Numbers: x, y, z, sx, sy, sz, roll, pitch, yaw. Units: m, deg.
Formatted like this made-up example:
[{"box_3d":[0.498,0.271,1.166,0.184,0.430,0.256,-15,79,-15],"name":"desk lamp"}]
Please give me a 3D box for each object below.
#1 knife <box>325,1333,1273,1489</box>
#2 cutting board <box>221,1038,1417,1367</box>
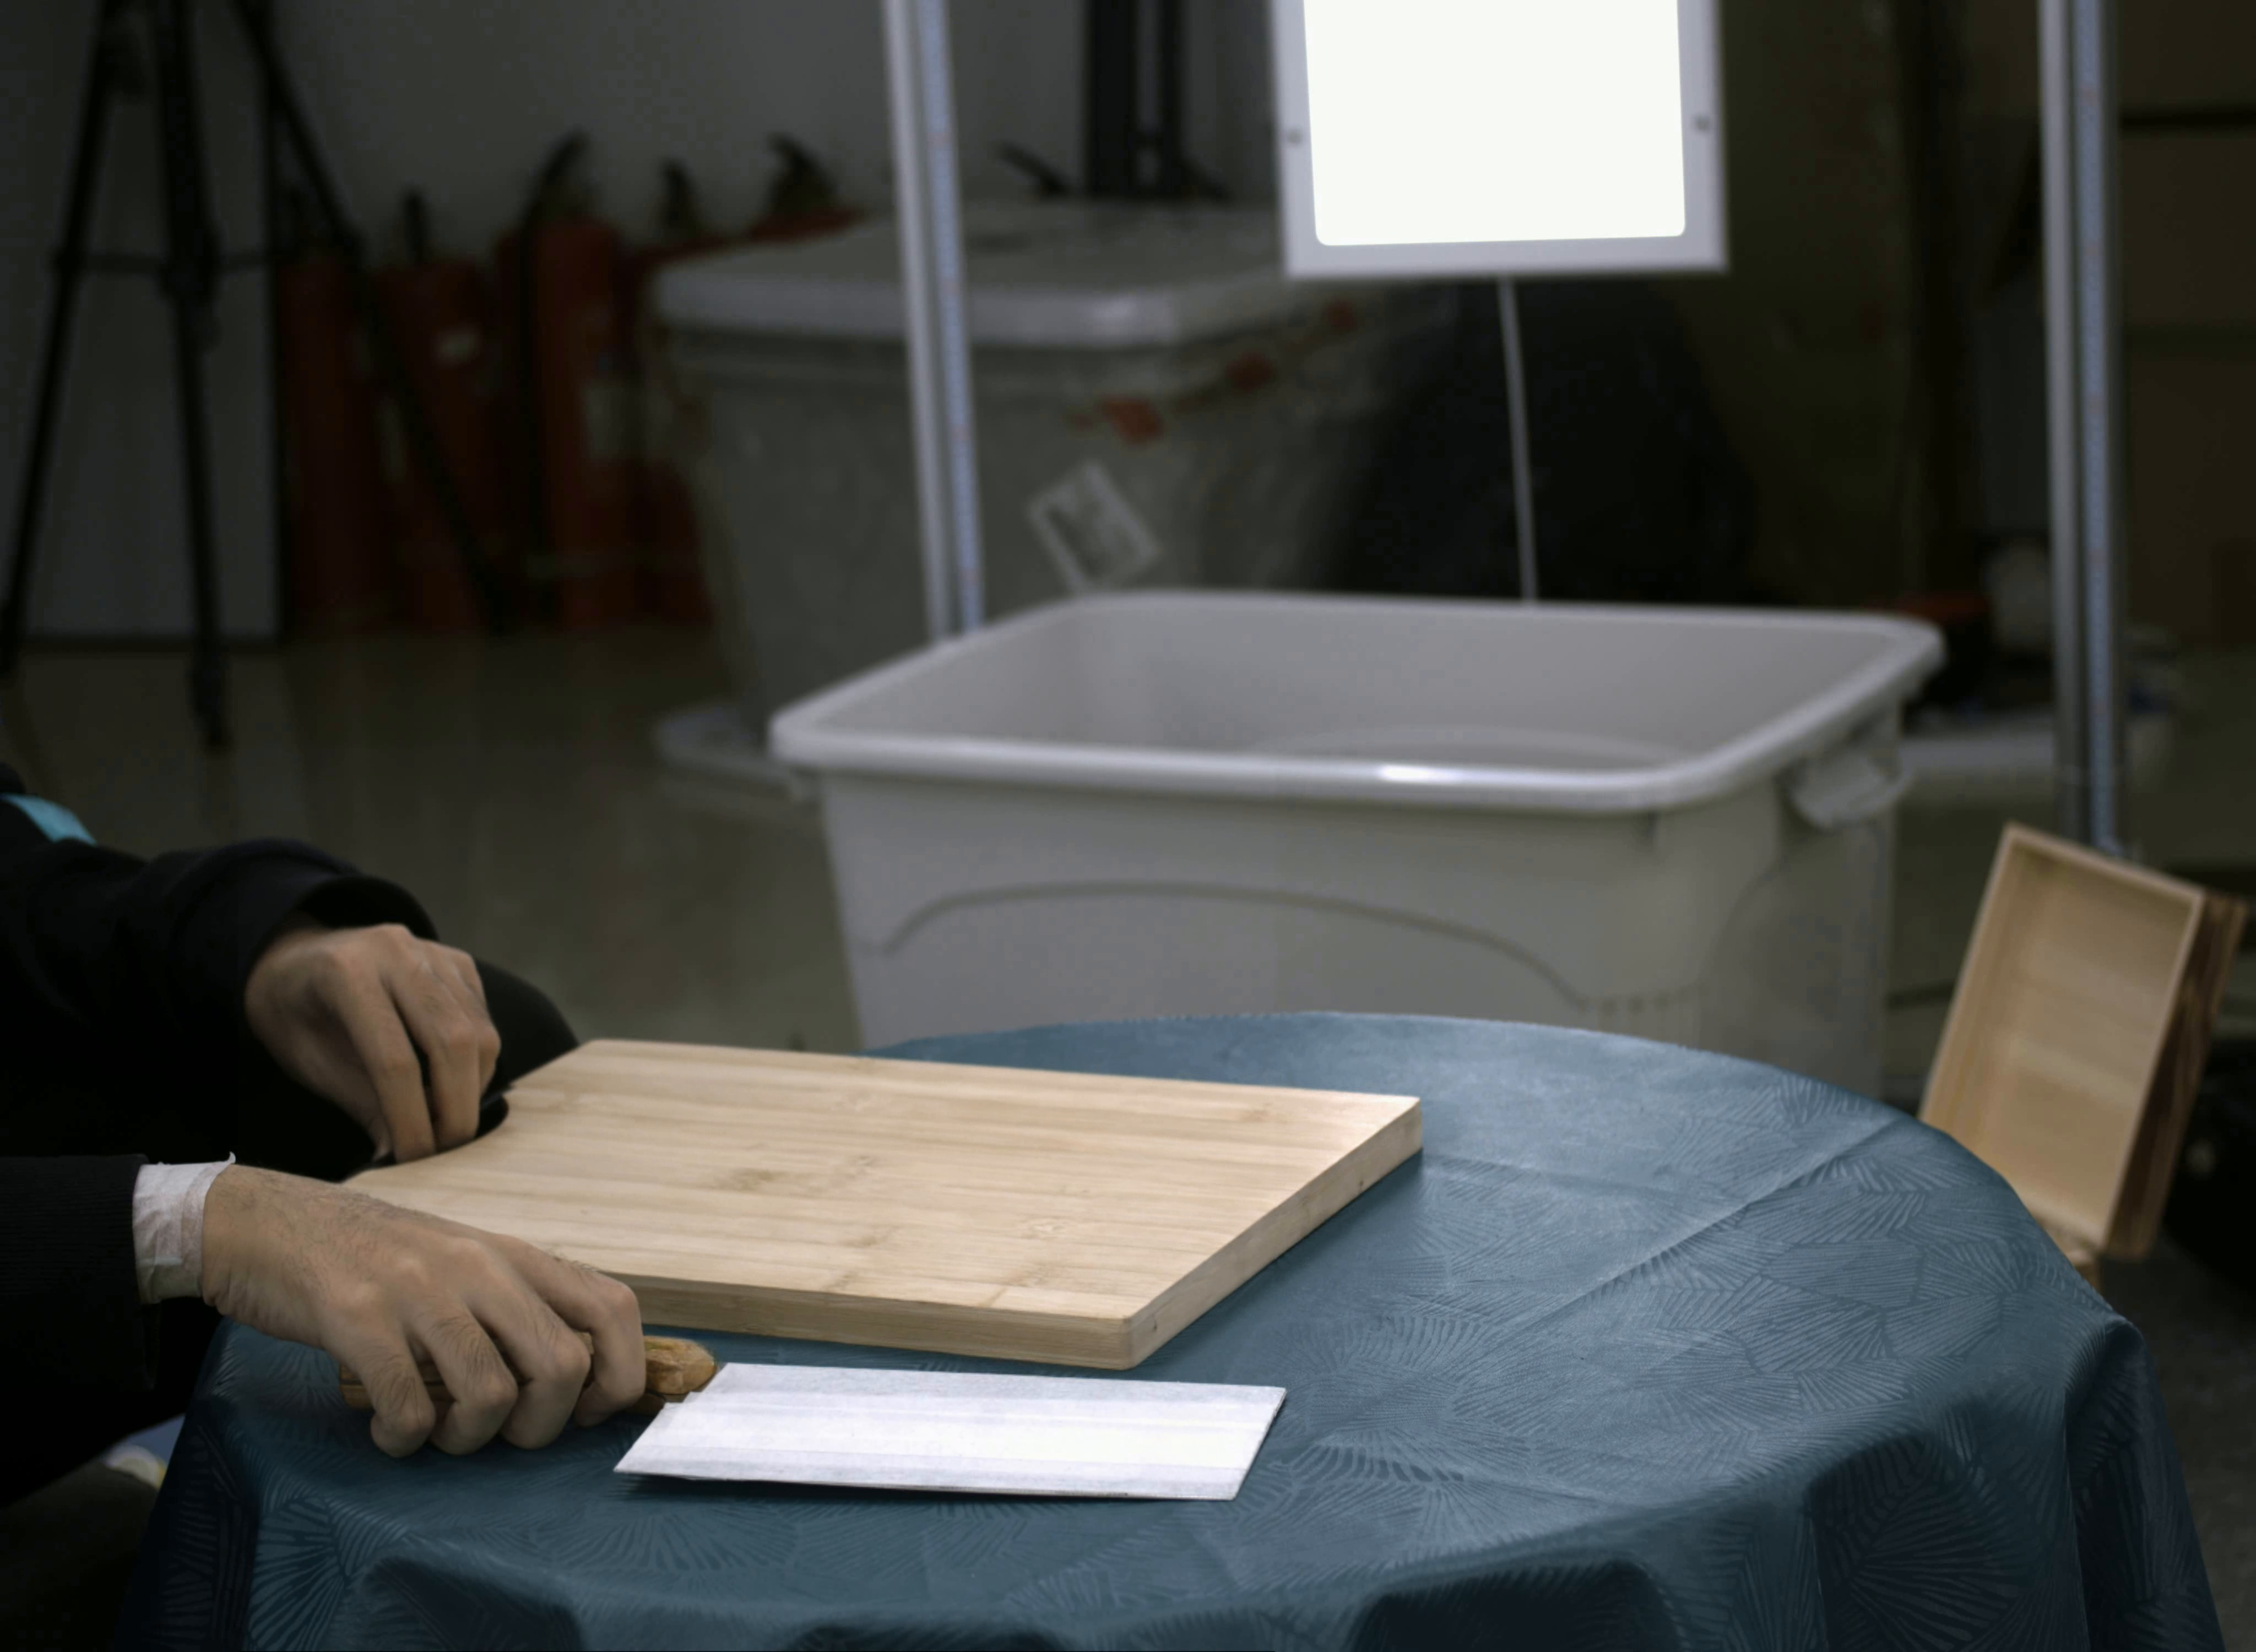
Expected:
[{"box_3d":[-0.108,0.181,1.683,0.308,0.021,0.091,1,16,14],"name":"knife"},{"box_3d":[-0.104,0.126,1.903,0.354,0.023,0.245,2,15,27],"name":"cutting board"}]
